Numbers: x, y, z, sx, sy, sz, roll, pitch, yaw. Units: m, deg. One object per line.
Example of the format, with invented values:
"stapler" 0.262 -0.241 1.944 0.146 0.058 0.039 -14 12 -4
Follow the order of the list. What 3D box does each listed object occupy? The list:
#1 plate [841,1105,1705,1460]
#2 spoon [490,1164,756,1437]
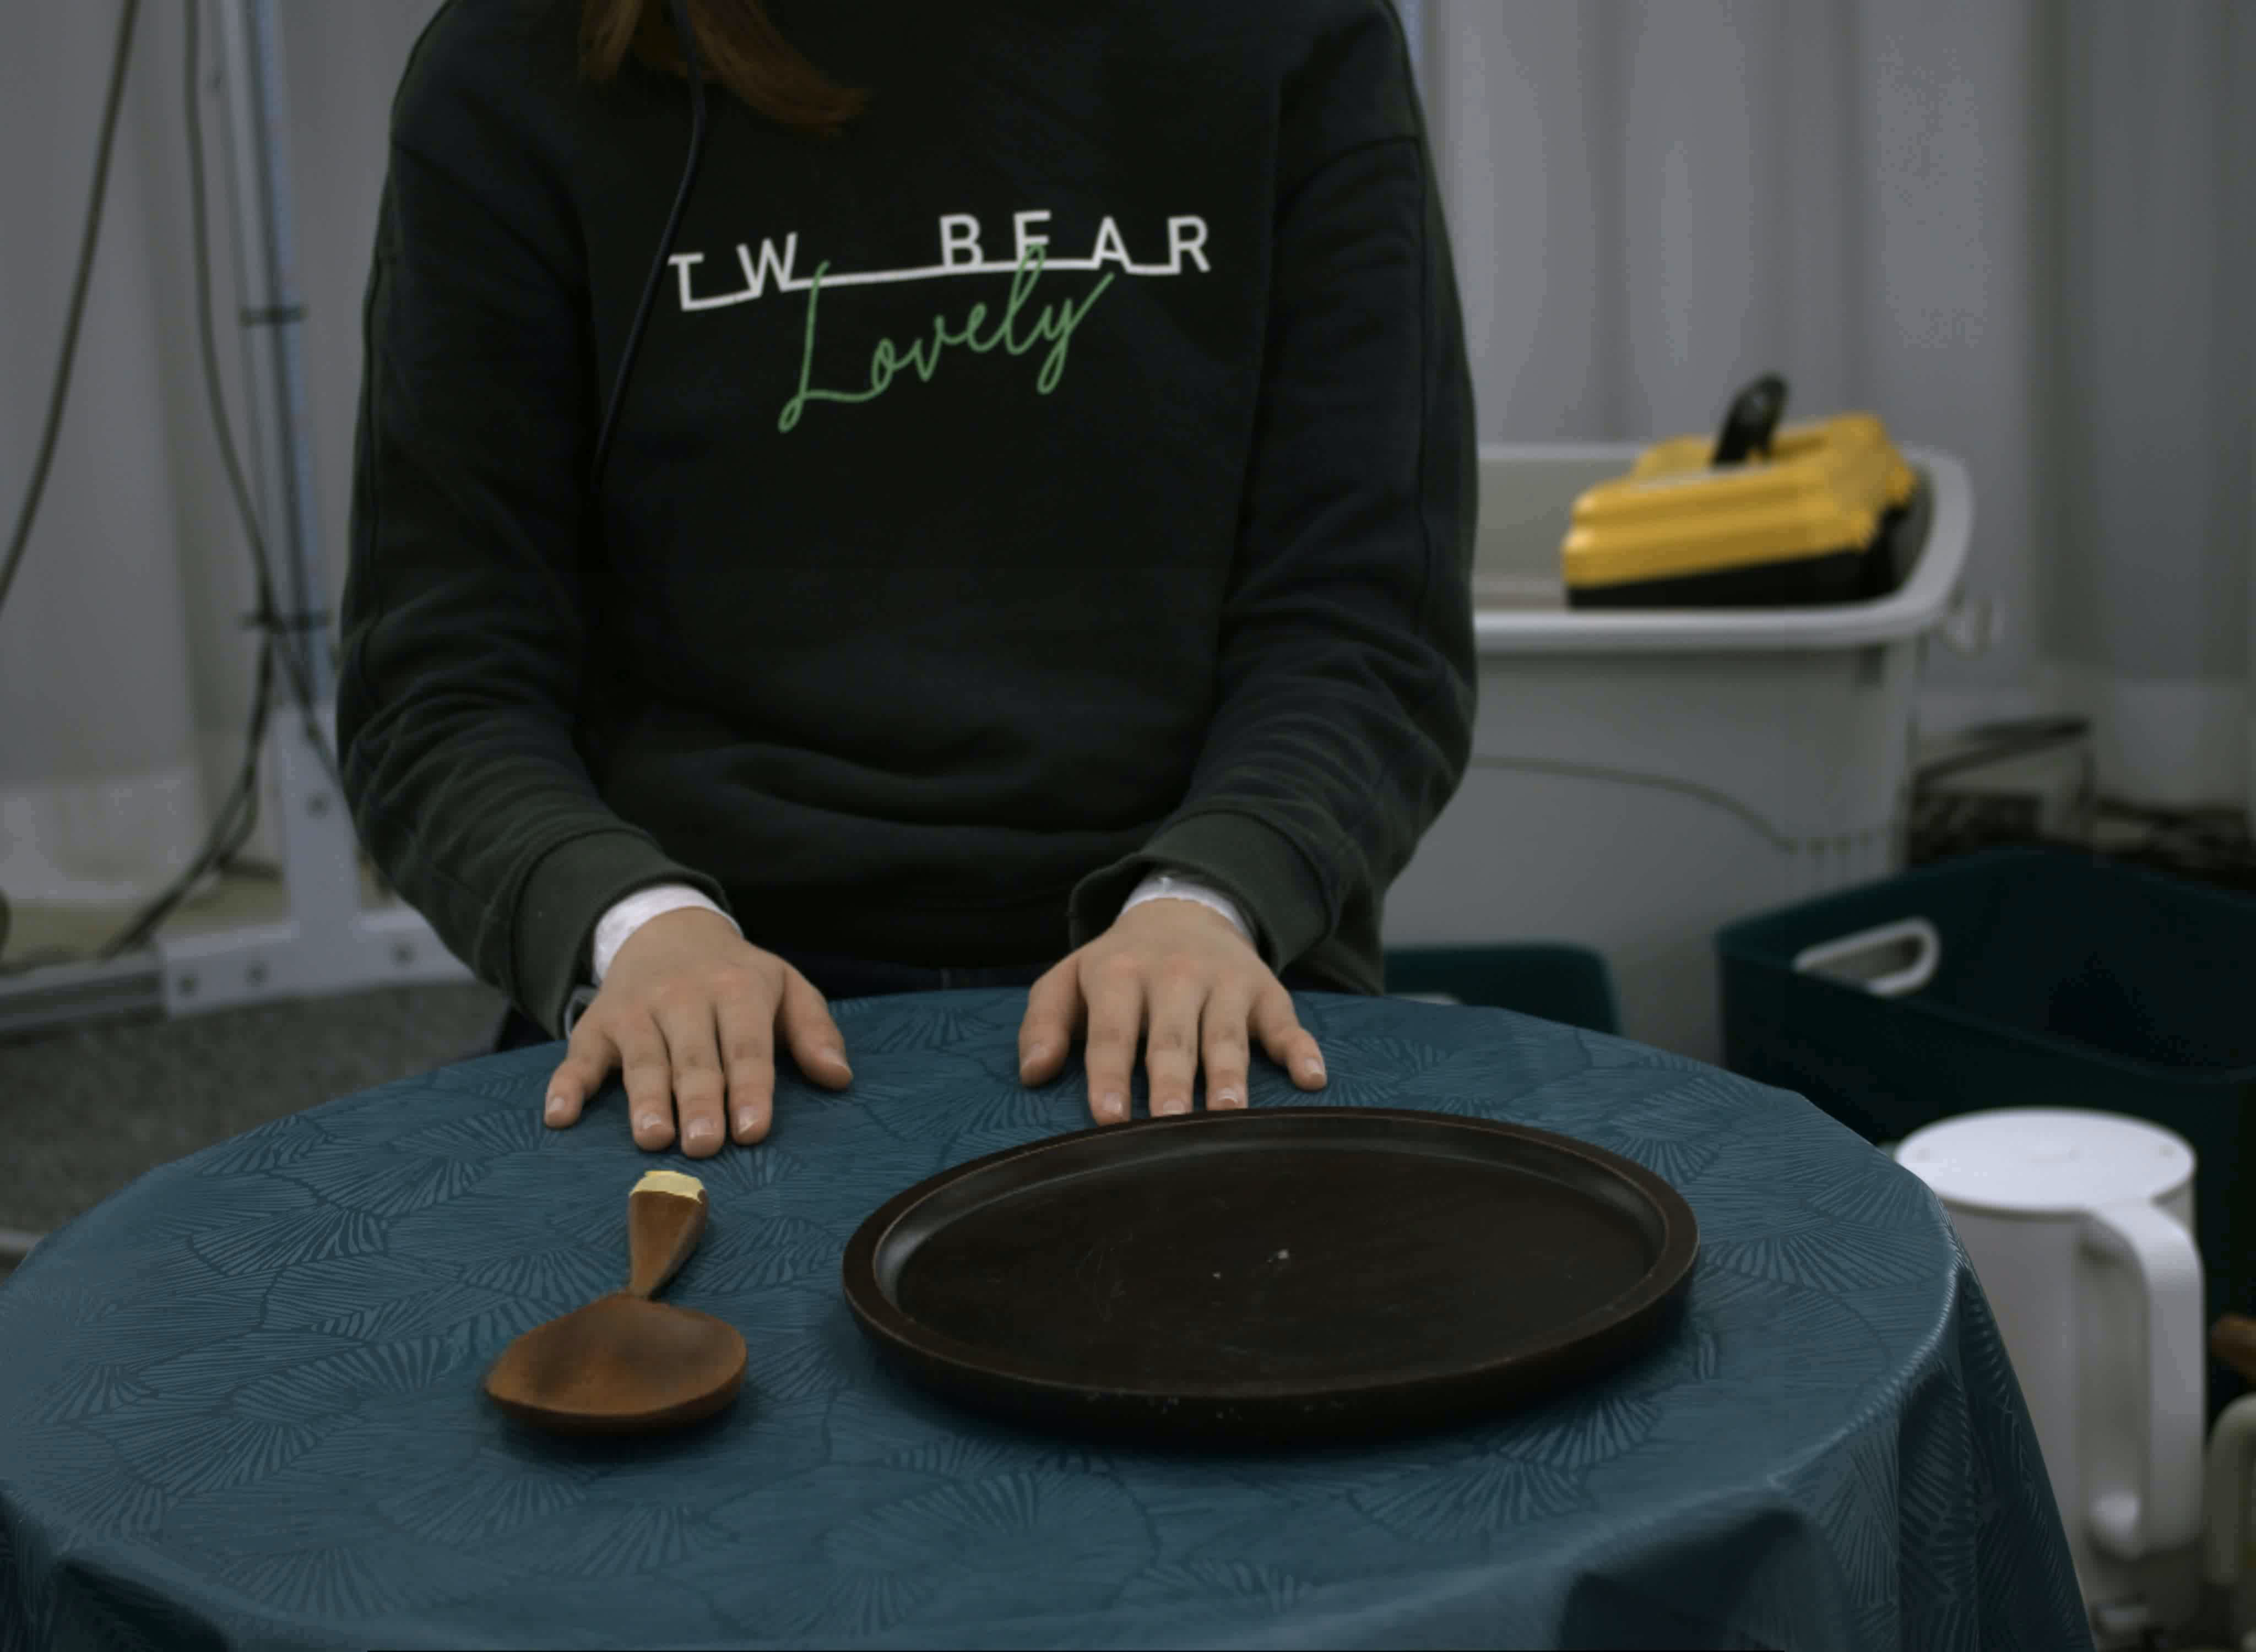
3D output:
"plate" 0.042 0.132 1.601 0.254 0.029 0.256 -2 16 0
"spoon" -0.143 0.141 1.610 0.075 0.017 0.217 -3 15 1
